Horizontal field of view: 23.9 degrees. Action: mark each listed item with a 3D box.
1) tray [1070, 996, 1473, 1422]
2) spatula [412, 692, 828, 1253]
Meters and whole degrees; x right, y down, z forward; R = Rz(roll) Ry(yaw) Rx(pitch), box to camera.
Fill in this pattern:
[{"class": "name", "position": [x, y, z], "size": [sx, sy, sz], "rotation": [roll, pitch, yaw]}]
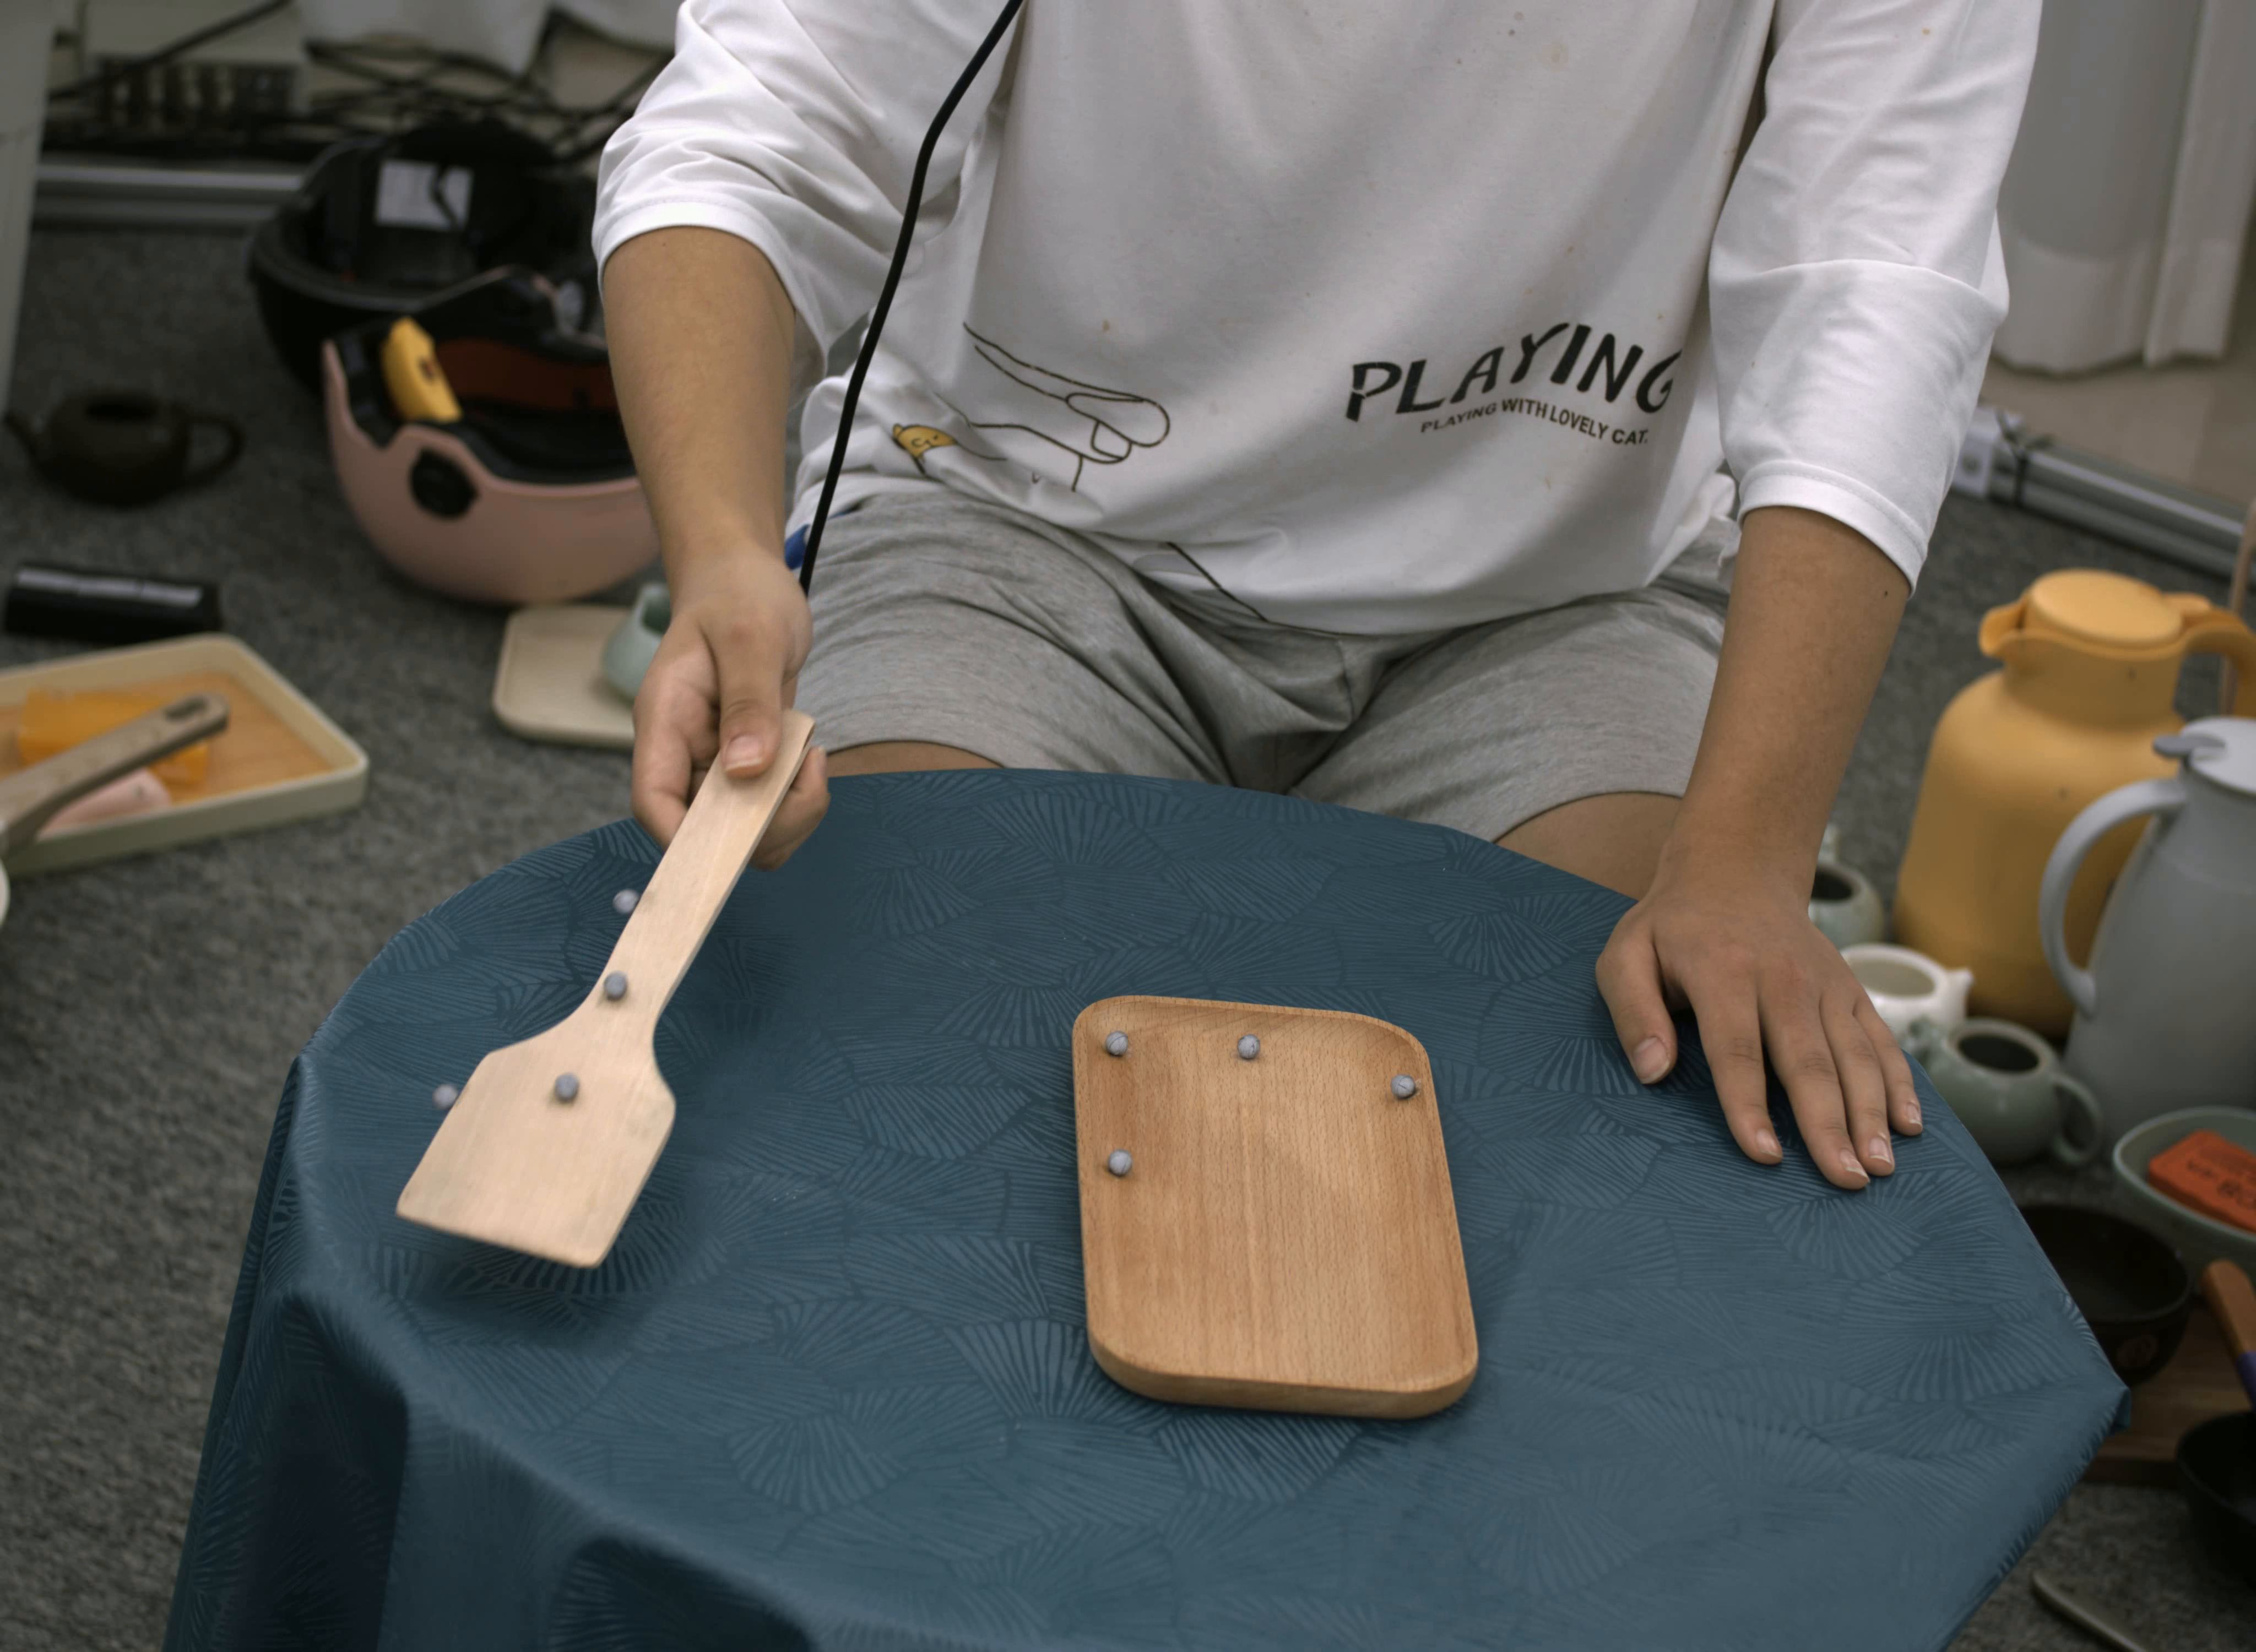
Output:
[{"class": "tray", "position": [0.045, 0.126, 1.794], "size": [0.130, 0.023, 0.252], "rotation": [3, 27, -2]}, {"class": "spatula", "position": [-0.158, 0.042, 1.795], "size": [0.072, 0.010, 0.294], "rotation": [13, 40, 10]}]
